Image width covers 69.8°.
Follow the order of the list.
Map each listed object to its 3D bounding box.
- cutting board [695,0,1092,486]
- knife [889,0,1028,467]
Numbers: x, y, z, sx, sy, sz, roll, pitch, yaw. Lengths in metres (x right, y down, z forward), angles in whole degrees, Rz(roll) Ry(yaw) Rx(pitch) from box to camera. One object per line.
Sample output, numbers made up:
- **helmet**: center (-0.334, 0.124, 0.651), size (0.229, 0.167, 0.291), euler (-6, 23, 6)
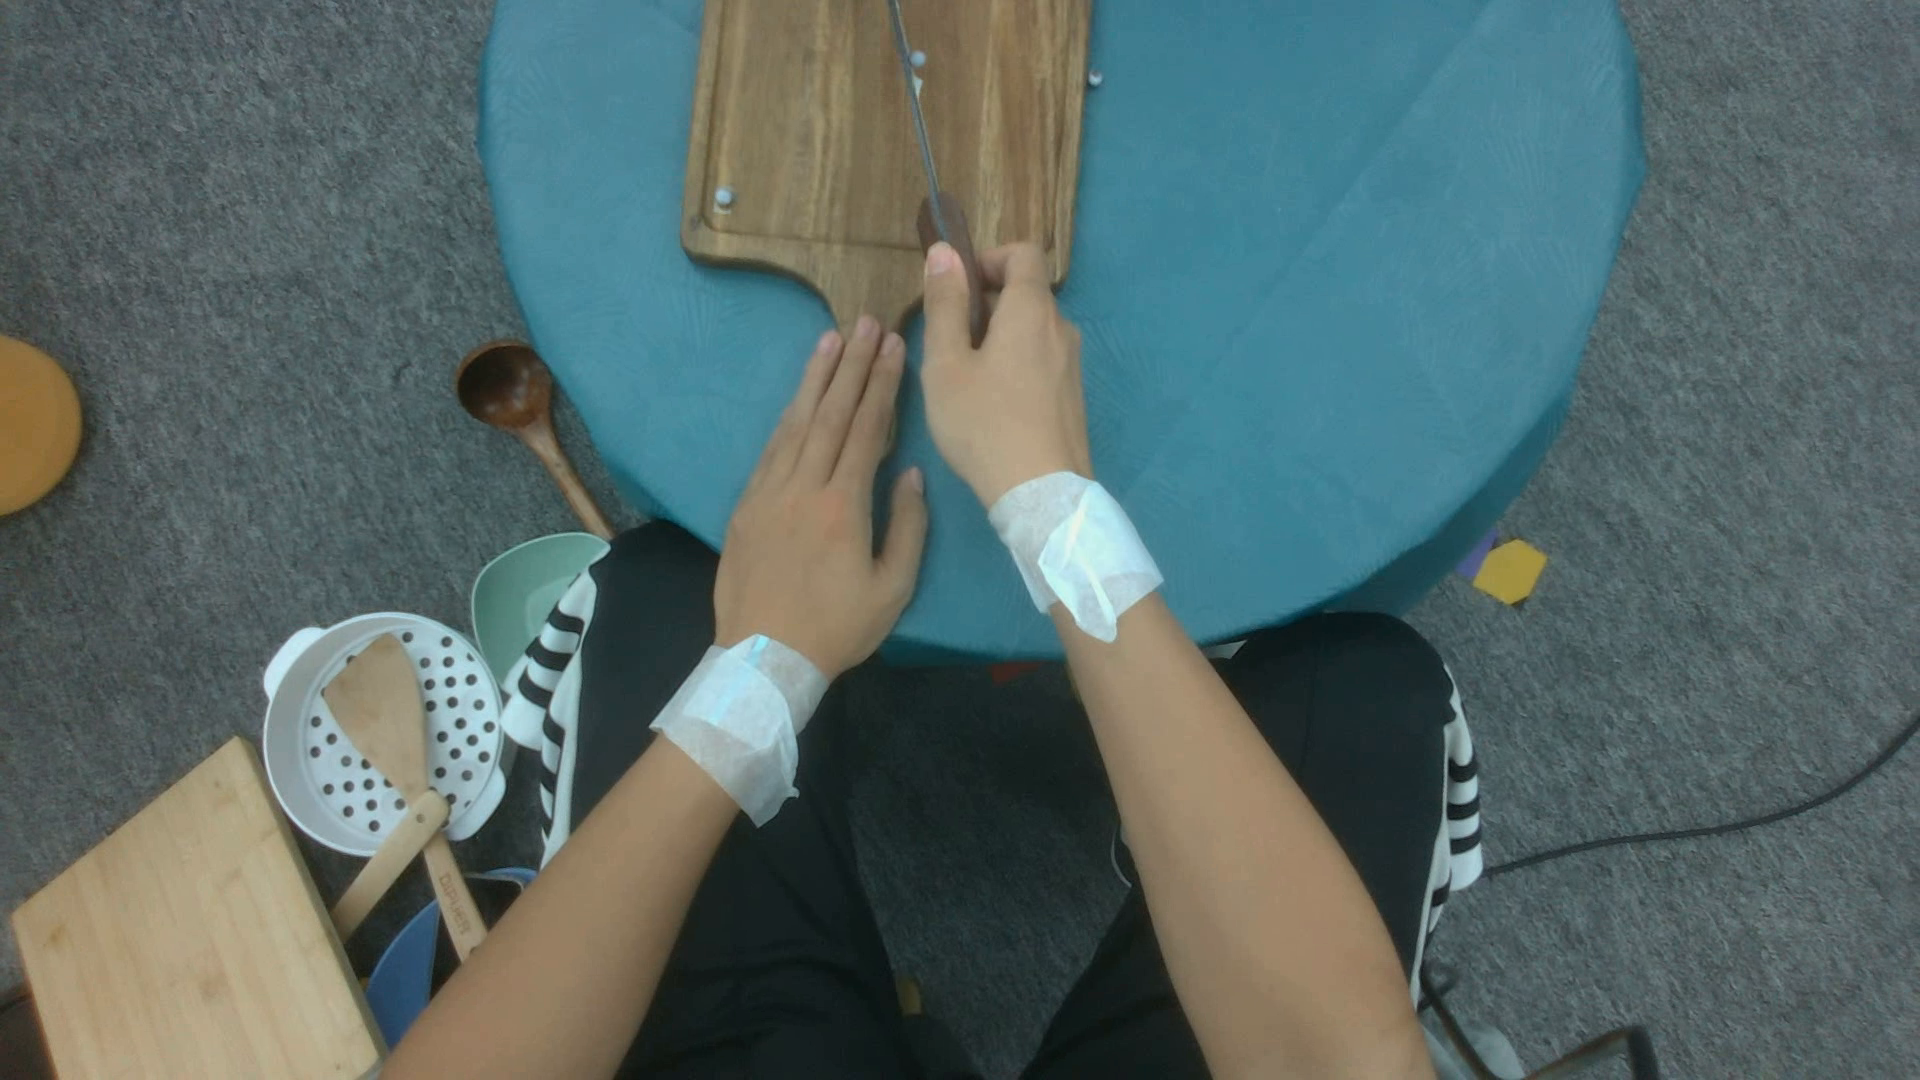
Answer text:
- **cutting board**: center (-0.035, -0.203, 0.724), size (0.201, 0.023, 0.352), euler (4, 82, -1)
- **knife**: center (-0.010, -0.171, 0.672), size (0.024, 0.068, 0.300), euler (-14, 77, 4)
